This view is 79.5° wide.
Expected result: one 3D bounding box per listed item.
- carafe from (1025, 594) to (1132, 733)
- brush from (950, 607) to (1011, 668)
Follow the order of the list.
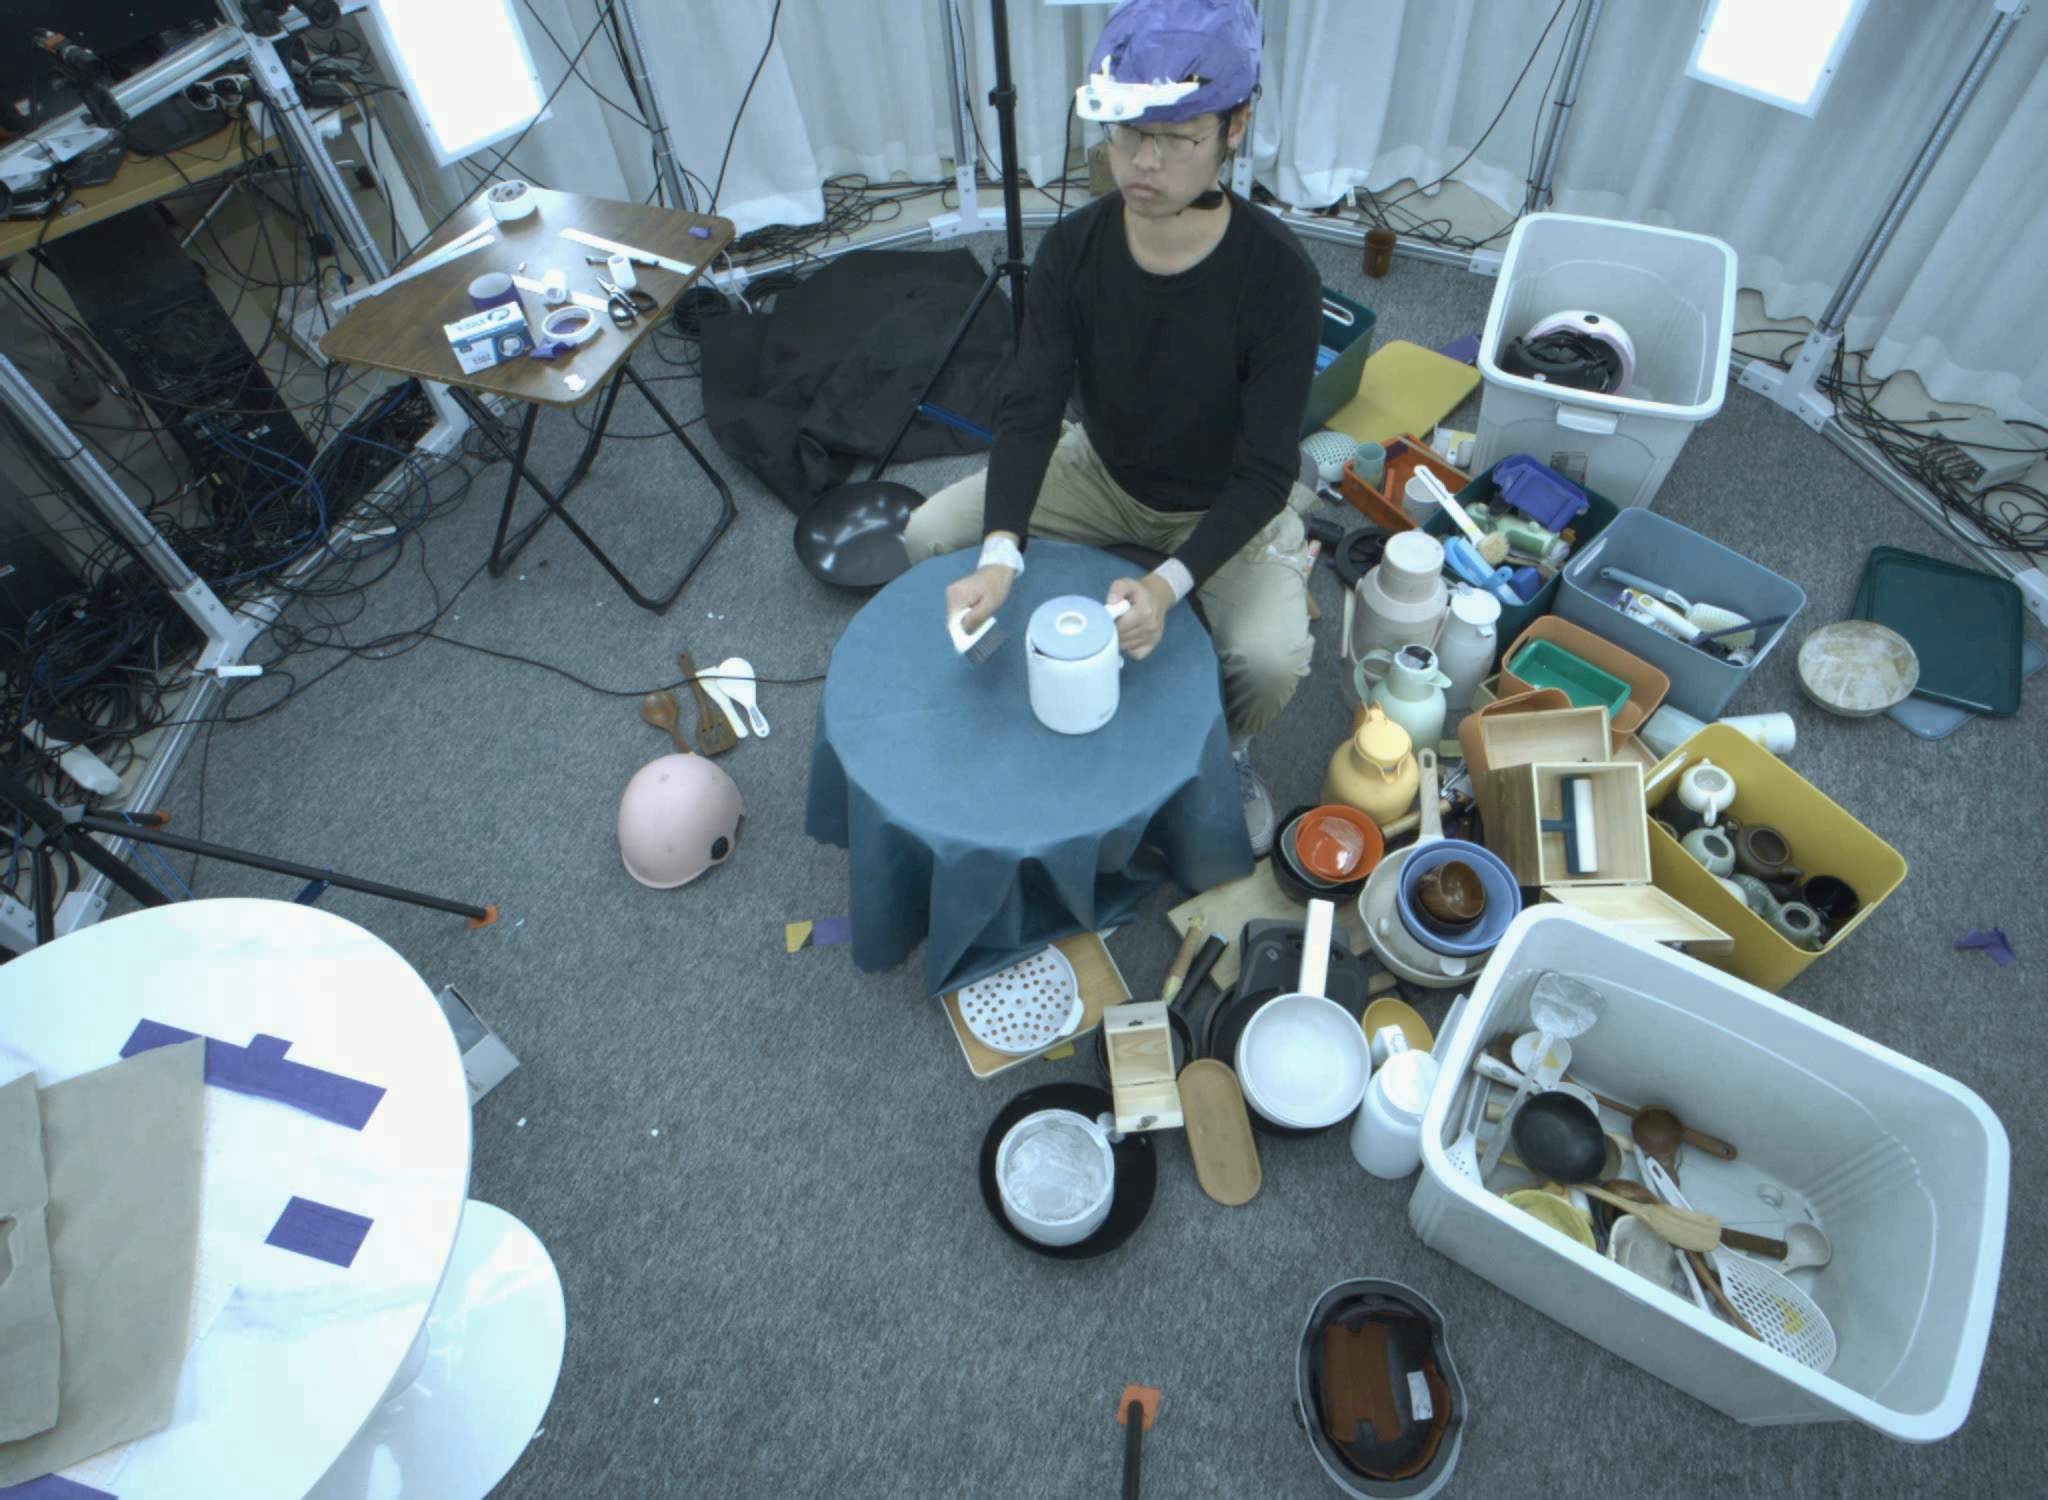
[{"bbox_3d":[0.088,-0.137,1.776,0.192,0.184,0.130,-38,61,-23],"label":"carafe"},{"bbox_3d":[-0.069,-0.169,1.760,0.073,0.050,0.099,47,34,-5],"label":"brush"}]
